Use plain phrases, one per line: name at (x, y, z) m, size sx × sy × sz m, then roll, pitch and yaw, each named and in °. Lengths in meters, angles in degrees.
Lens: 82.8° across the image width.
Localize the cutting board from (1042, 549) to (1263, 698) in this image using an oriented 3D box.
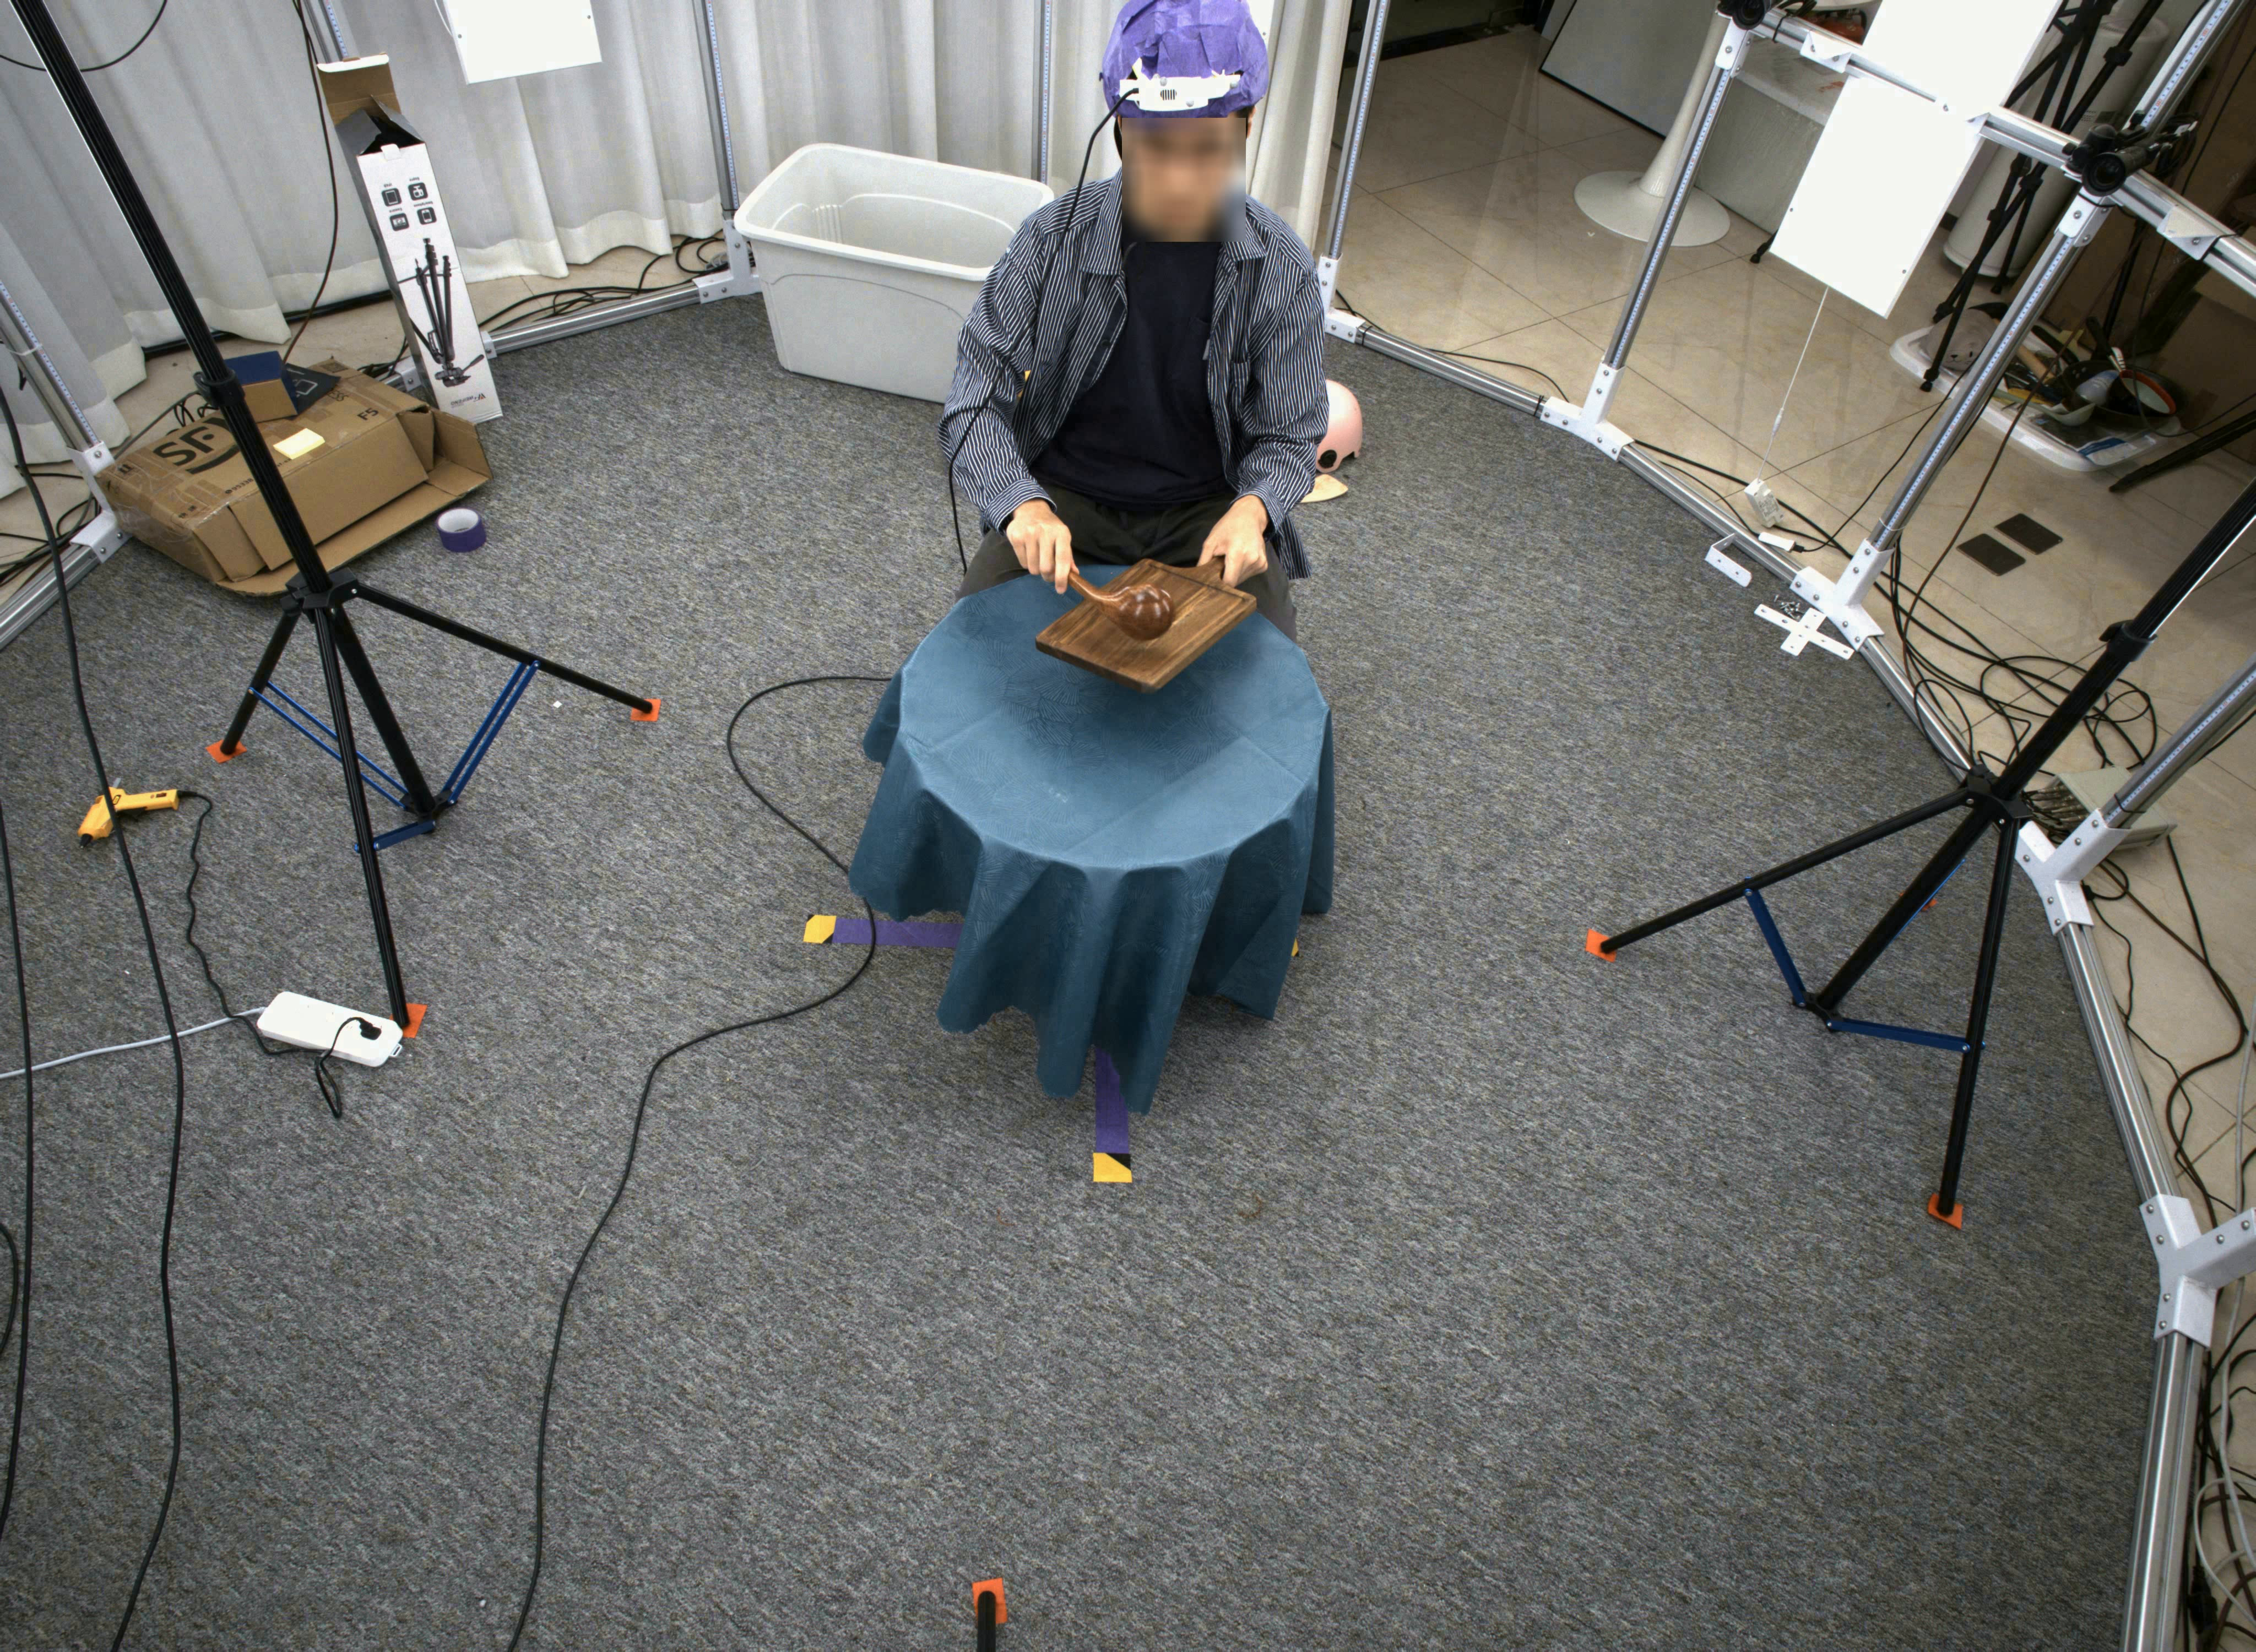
cutting board at (0.065, -0.296, 1.758) m, size 0.203 × 0.022 × 0.356 m, roll 25°, pitch 47°, yaw 29°

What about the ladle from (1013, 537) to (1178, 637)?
ladle at (-0.043, -0.332, 1.707) m, size 0.077 × 0.080 × 0.279 m, roll -16°, pitch 40°, yaw -37°
